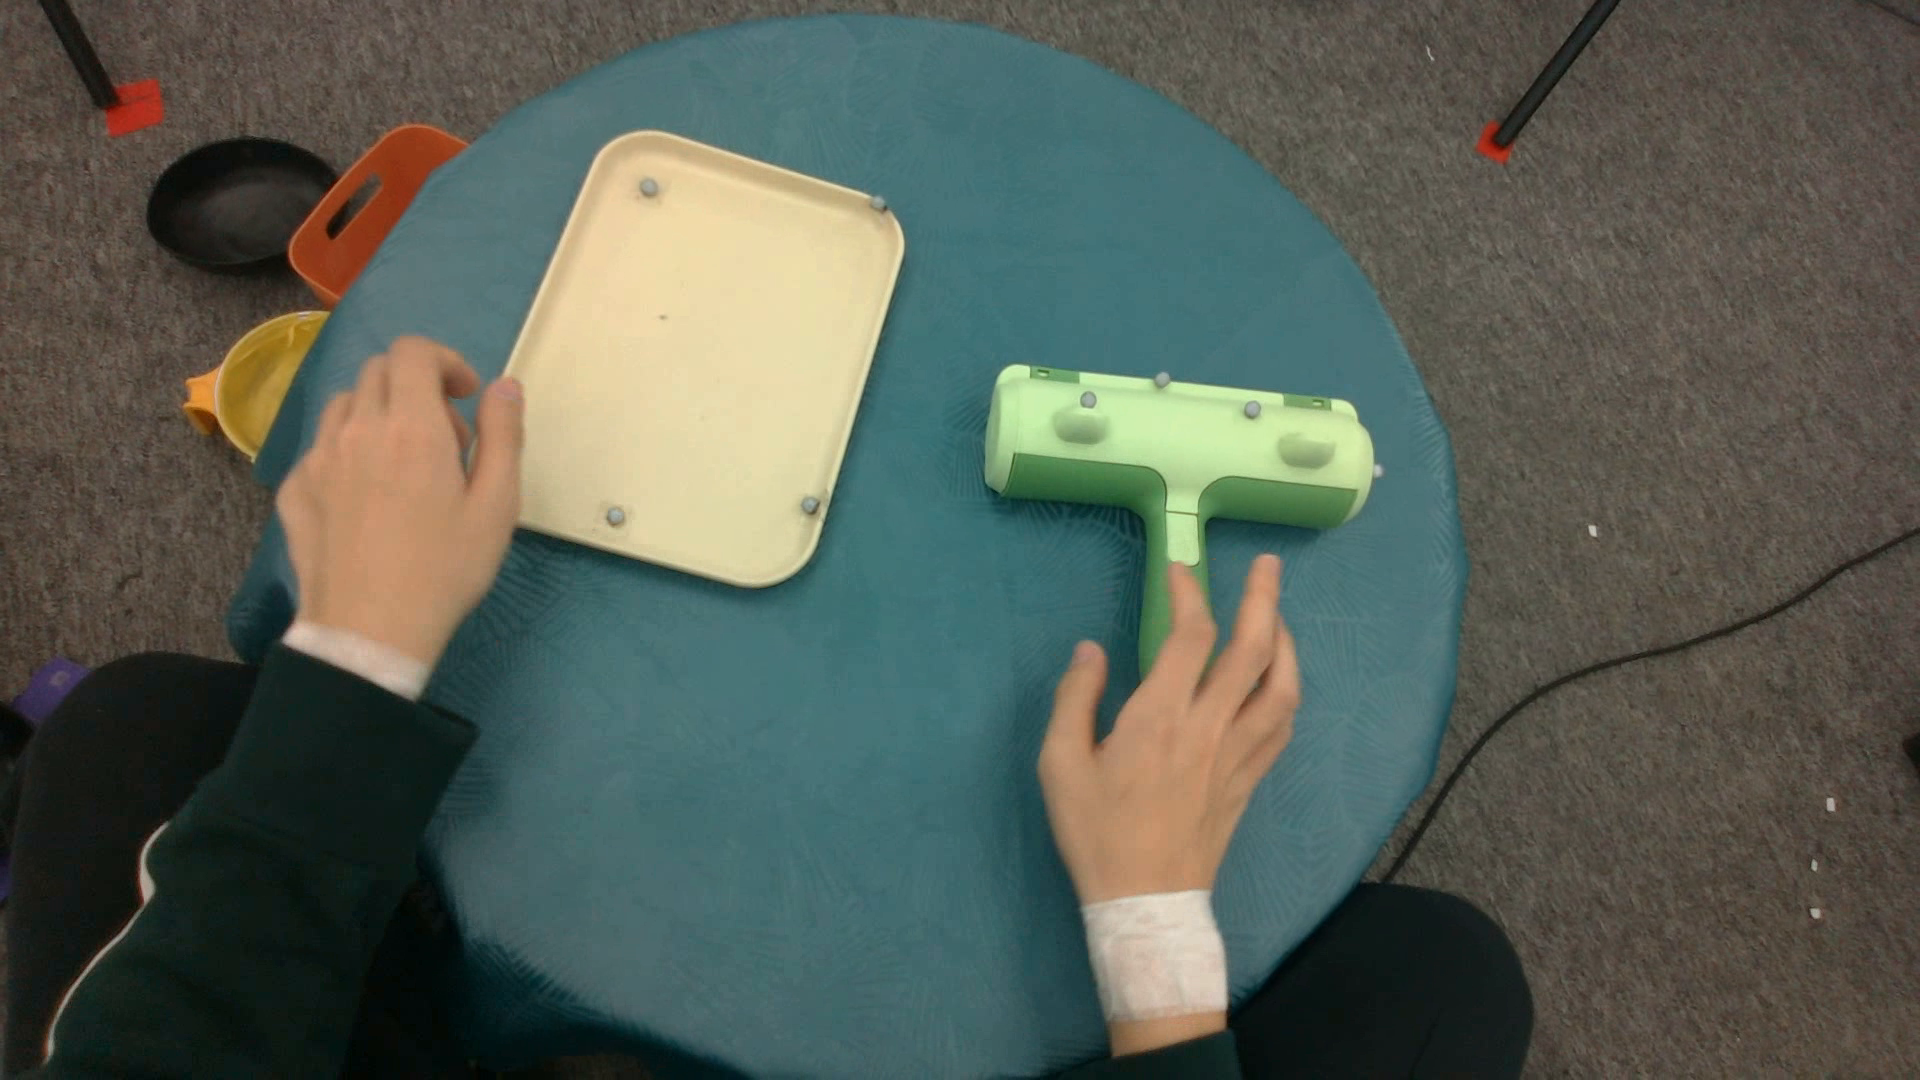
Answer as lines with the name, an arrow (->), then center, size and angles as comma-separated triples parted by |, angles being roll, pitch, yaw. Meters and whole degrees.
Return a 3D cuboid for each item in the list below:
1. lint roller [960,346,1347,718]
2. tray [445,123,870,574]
lint roller -> 0.101, -0.010, 0.680 | 0.199, 0.082, 0.184 | 4, 63, -9
tray -> -0.147, -0.102, 0.703 | 0.171, 0.017, 0.240 | 13, 66, -4
